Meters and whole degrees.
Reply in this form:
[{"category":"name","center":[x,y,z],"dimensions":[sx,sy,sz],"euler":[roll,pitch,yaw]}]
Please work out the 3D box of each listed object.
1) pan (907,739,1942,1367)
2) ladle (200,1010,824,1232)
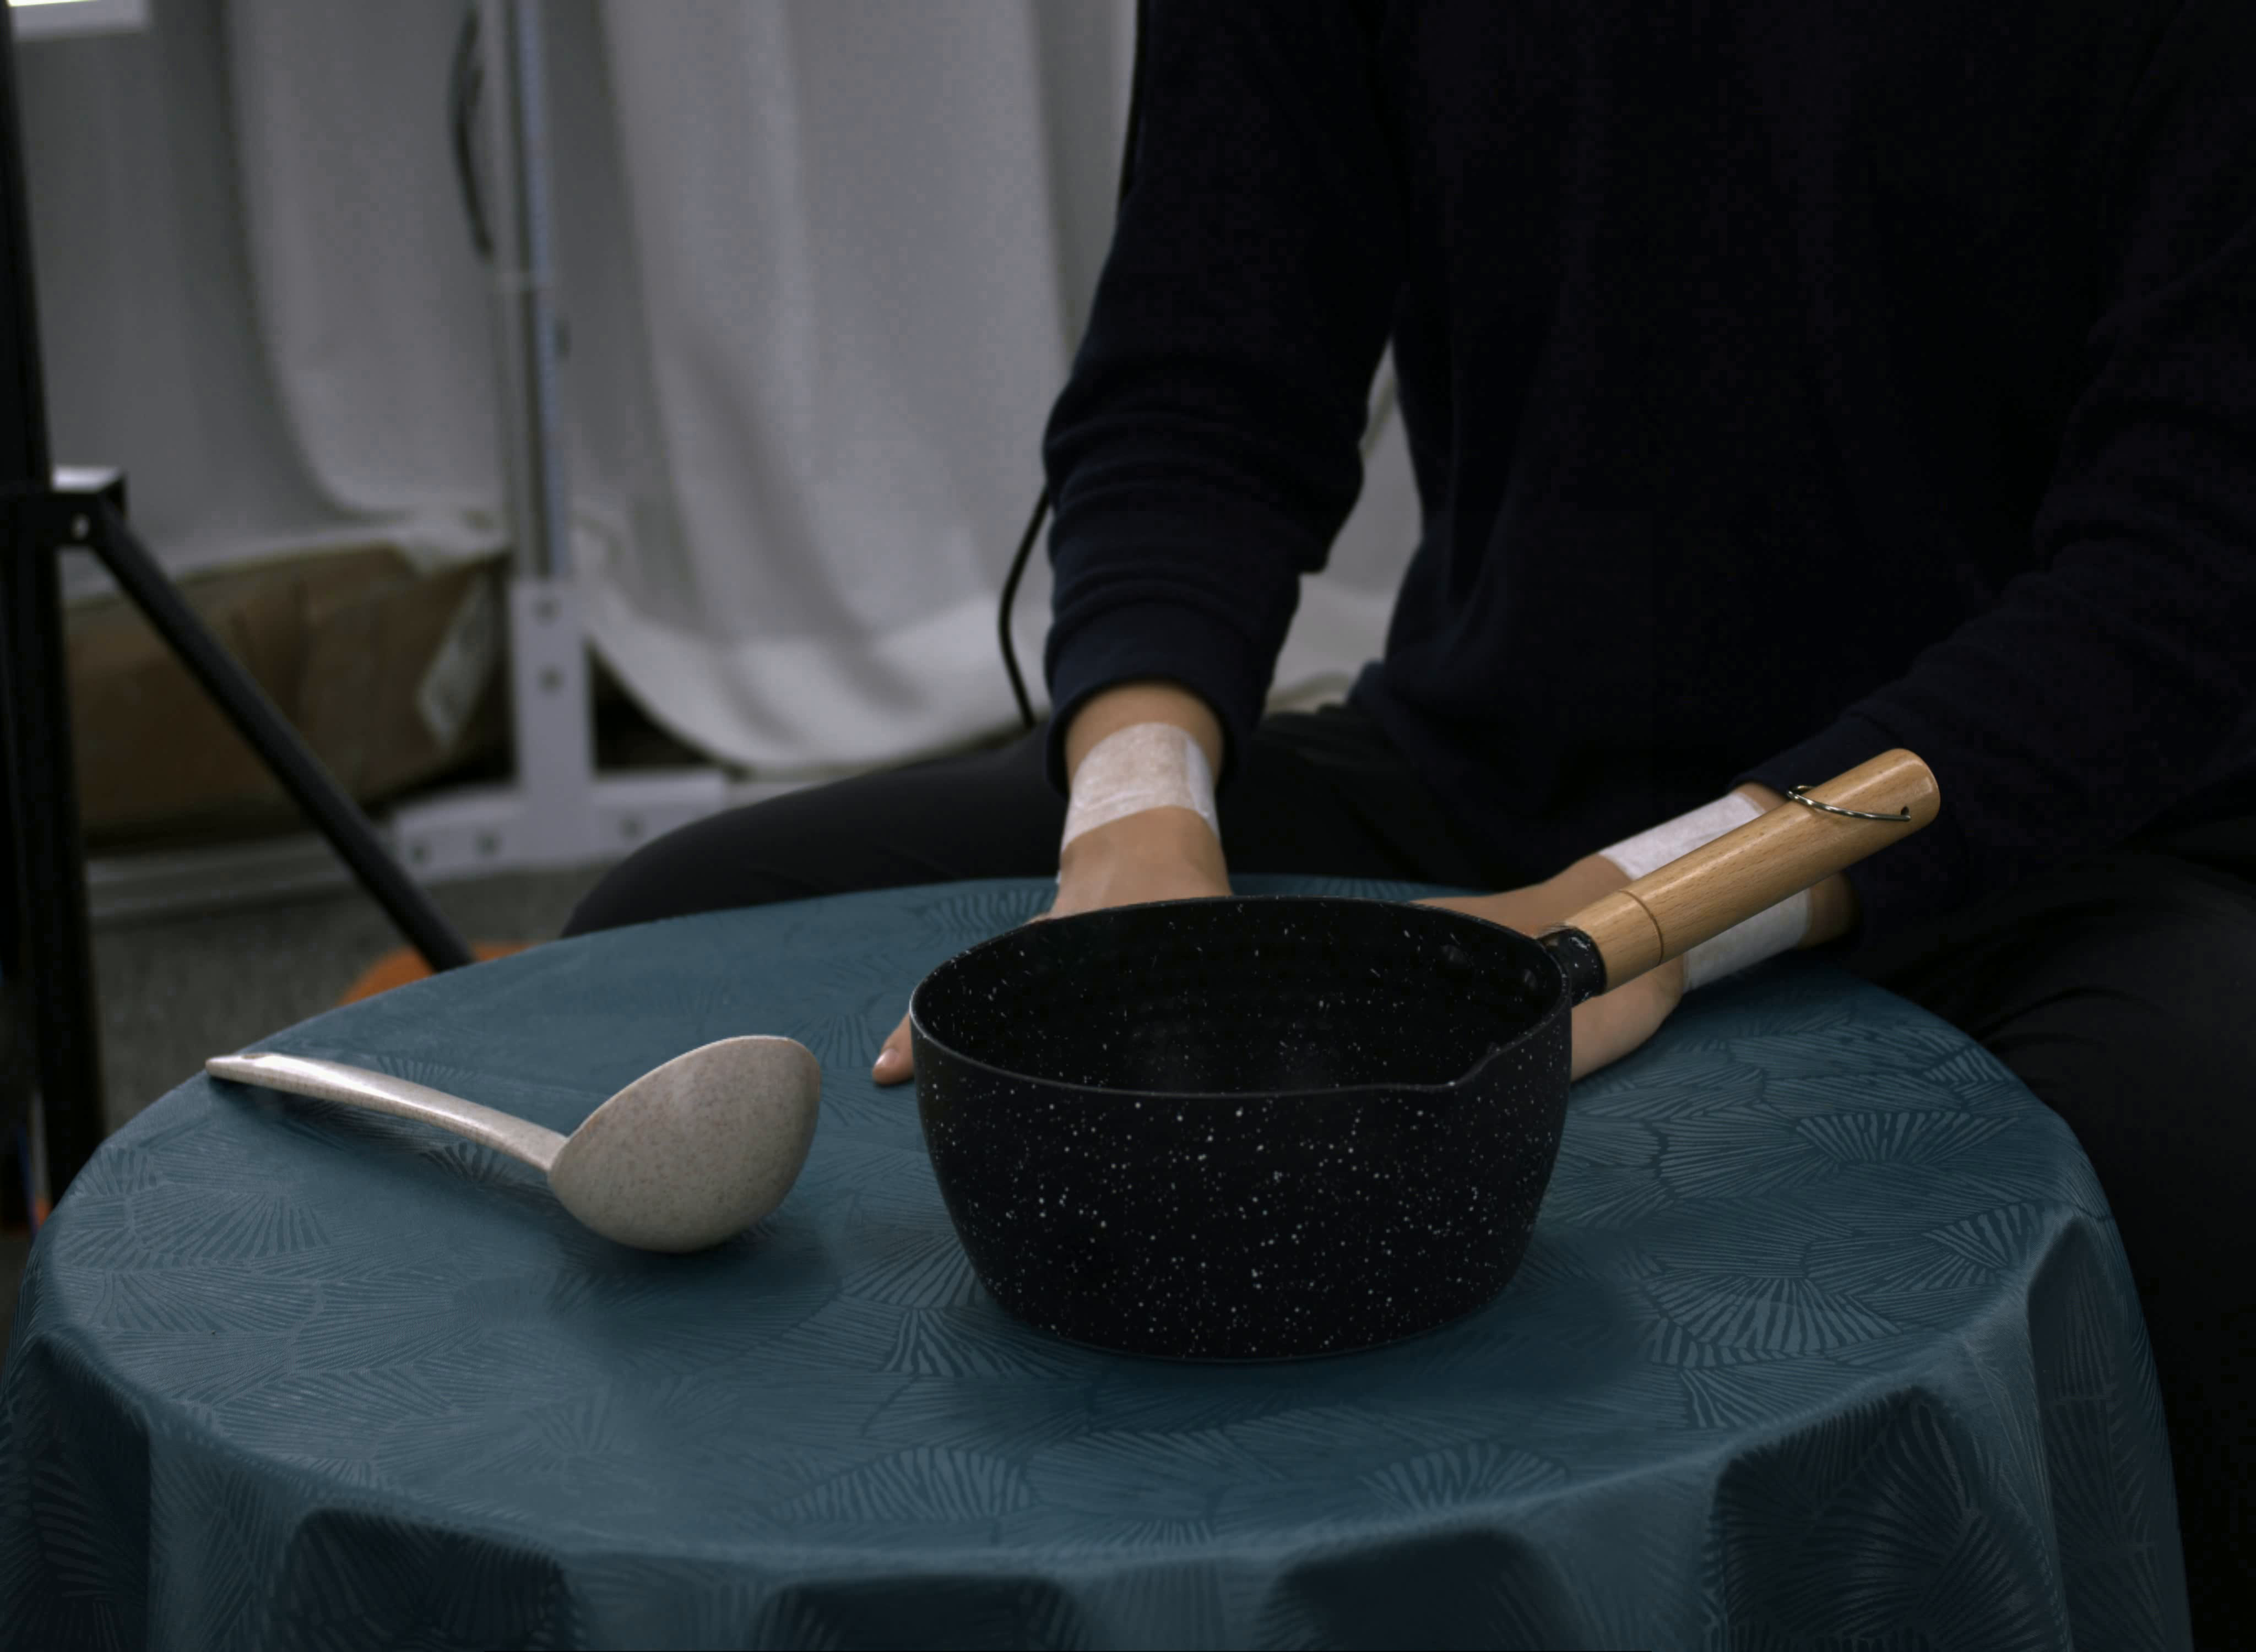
[{"category":"pan","center":[0.098,0.059,1.515],"dimensions":[0.335,0.108,0.212],"euler":[-14,18,-31]},{"category":"ladle","center":[-0.197,0.067,1.606],"dimensions":[0.087,0.069,0.281],"euler":[3,6,-41]}]
